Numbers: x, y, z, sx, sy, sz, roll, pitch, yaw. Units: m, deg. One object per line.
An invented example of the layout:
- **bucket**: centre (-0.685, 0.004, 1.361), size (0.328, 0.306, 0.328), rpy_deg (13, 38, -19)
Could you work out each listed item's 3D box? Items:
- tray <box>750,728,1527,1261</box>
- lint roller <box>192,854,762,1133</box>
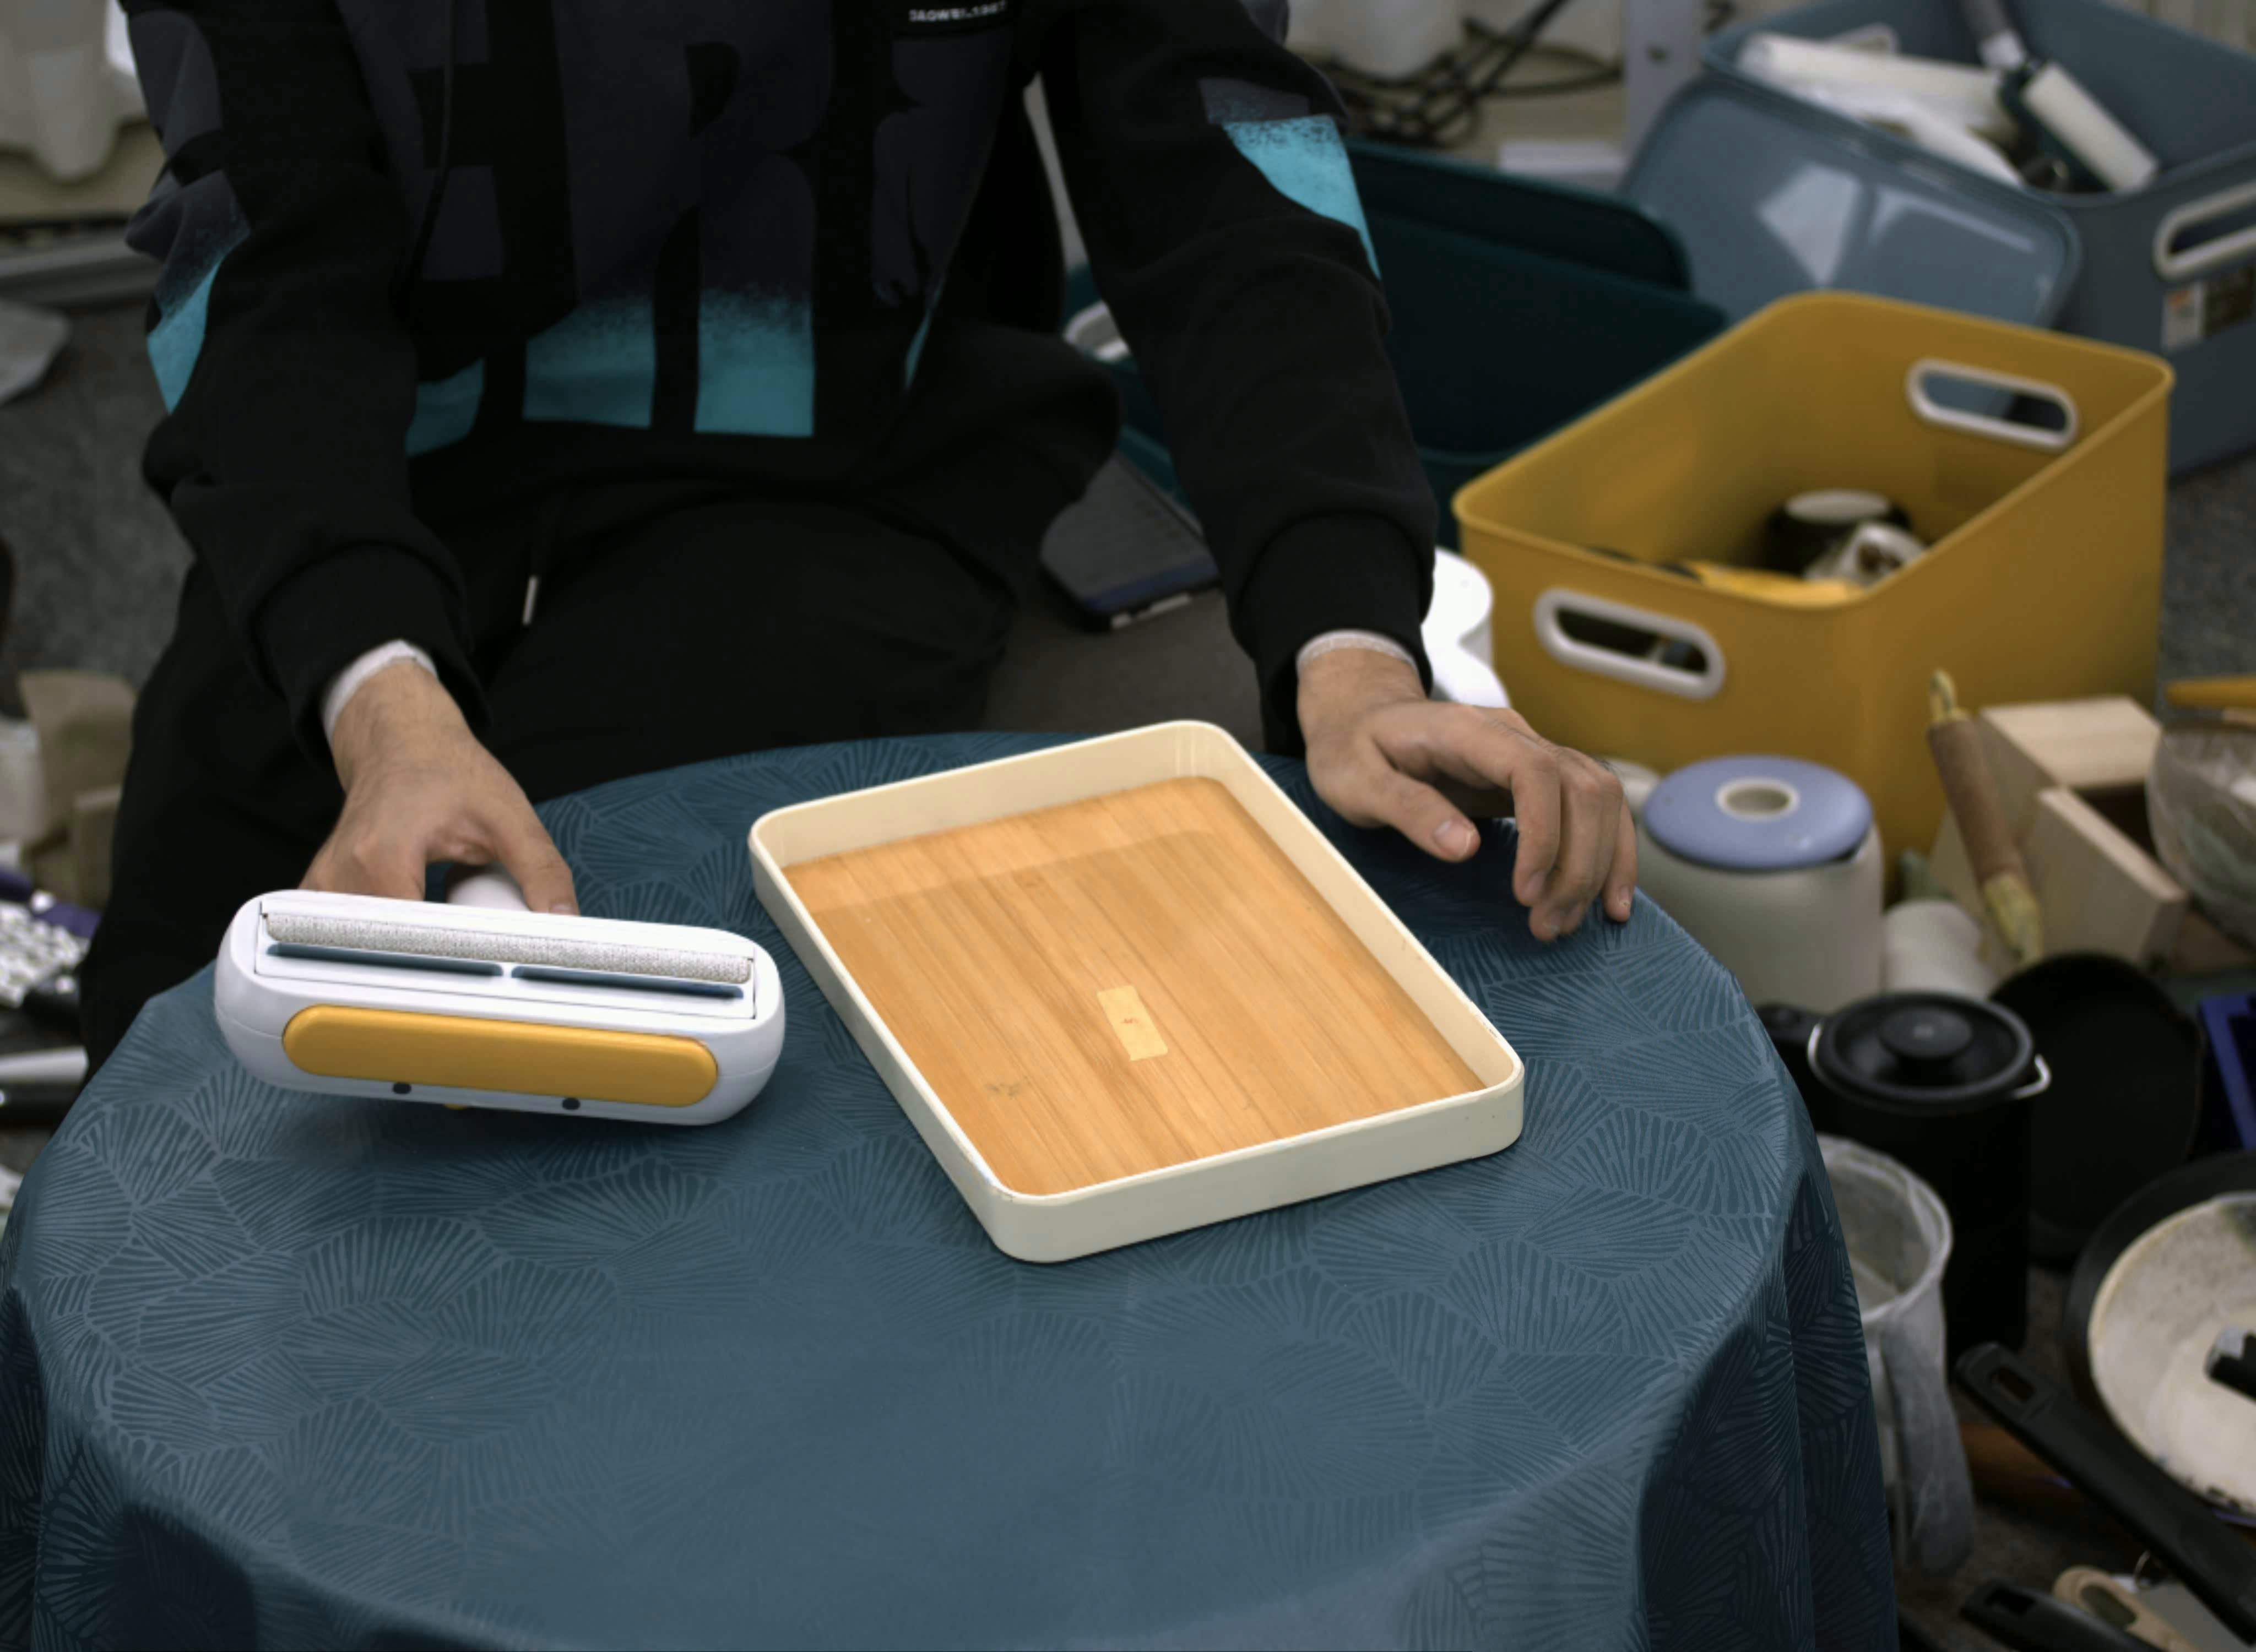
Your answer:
- **tray**: centre (-0.002, 0.053, 1.964), size (0.192, 0.027, 0.303), rpy_deg (-11, 29, -17)
- **lint roller**: centre (-0.223, 0.043, 1.961), size (0.192, 0.073, 0.195), rpy_deg (3, 25, -4)
